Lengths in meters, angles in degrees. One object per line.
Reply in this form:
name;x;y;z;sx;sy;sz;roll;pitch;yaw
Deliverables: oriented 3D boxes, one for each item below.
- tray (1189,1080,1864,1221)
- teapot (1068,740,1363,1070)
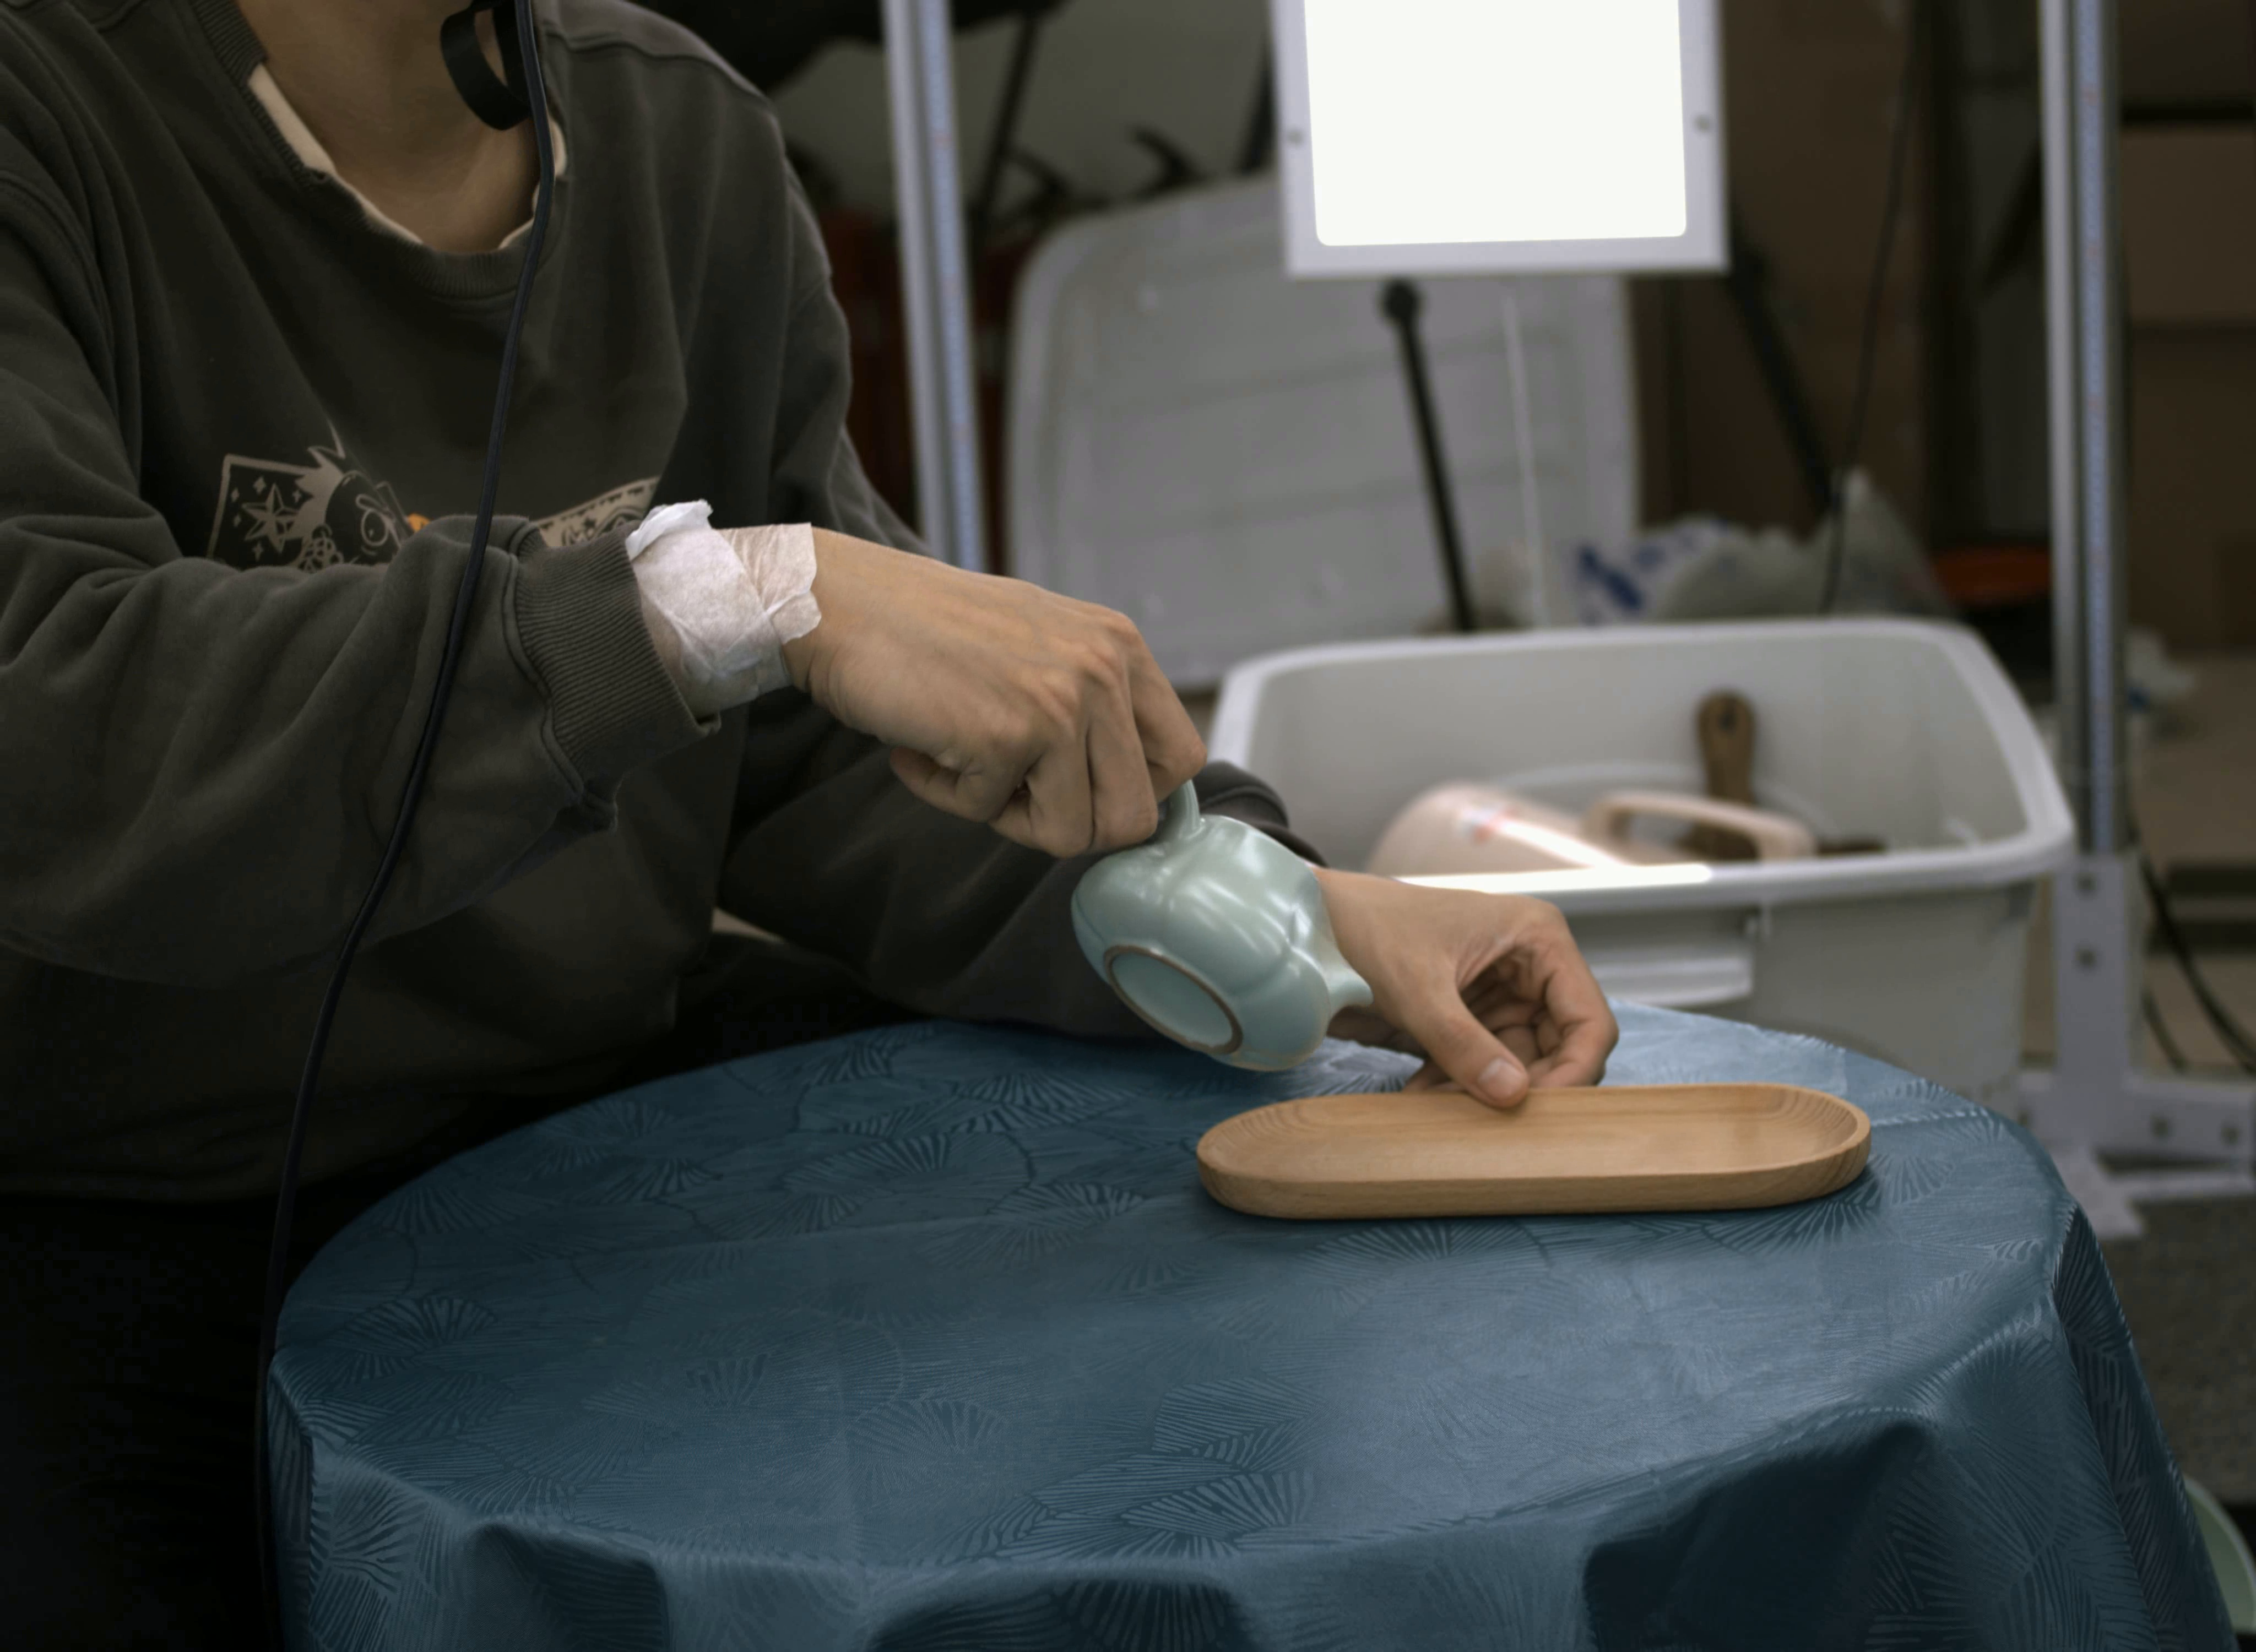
tray;0.136;0.111;1.874;0.232;0.020;0.100;-4;14;11
teapot;0.027;0.033;1.816;0.098;0.135;0.060;6;52;53
